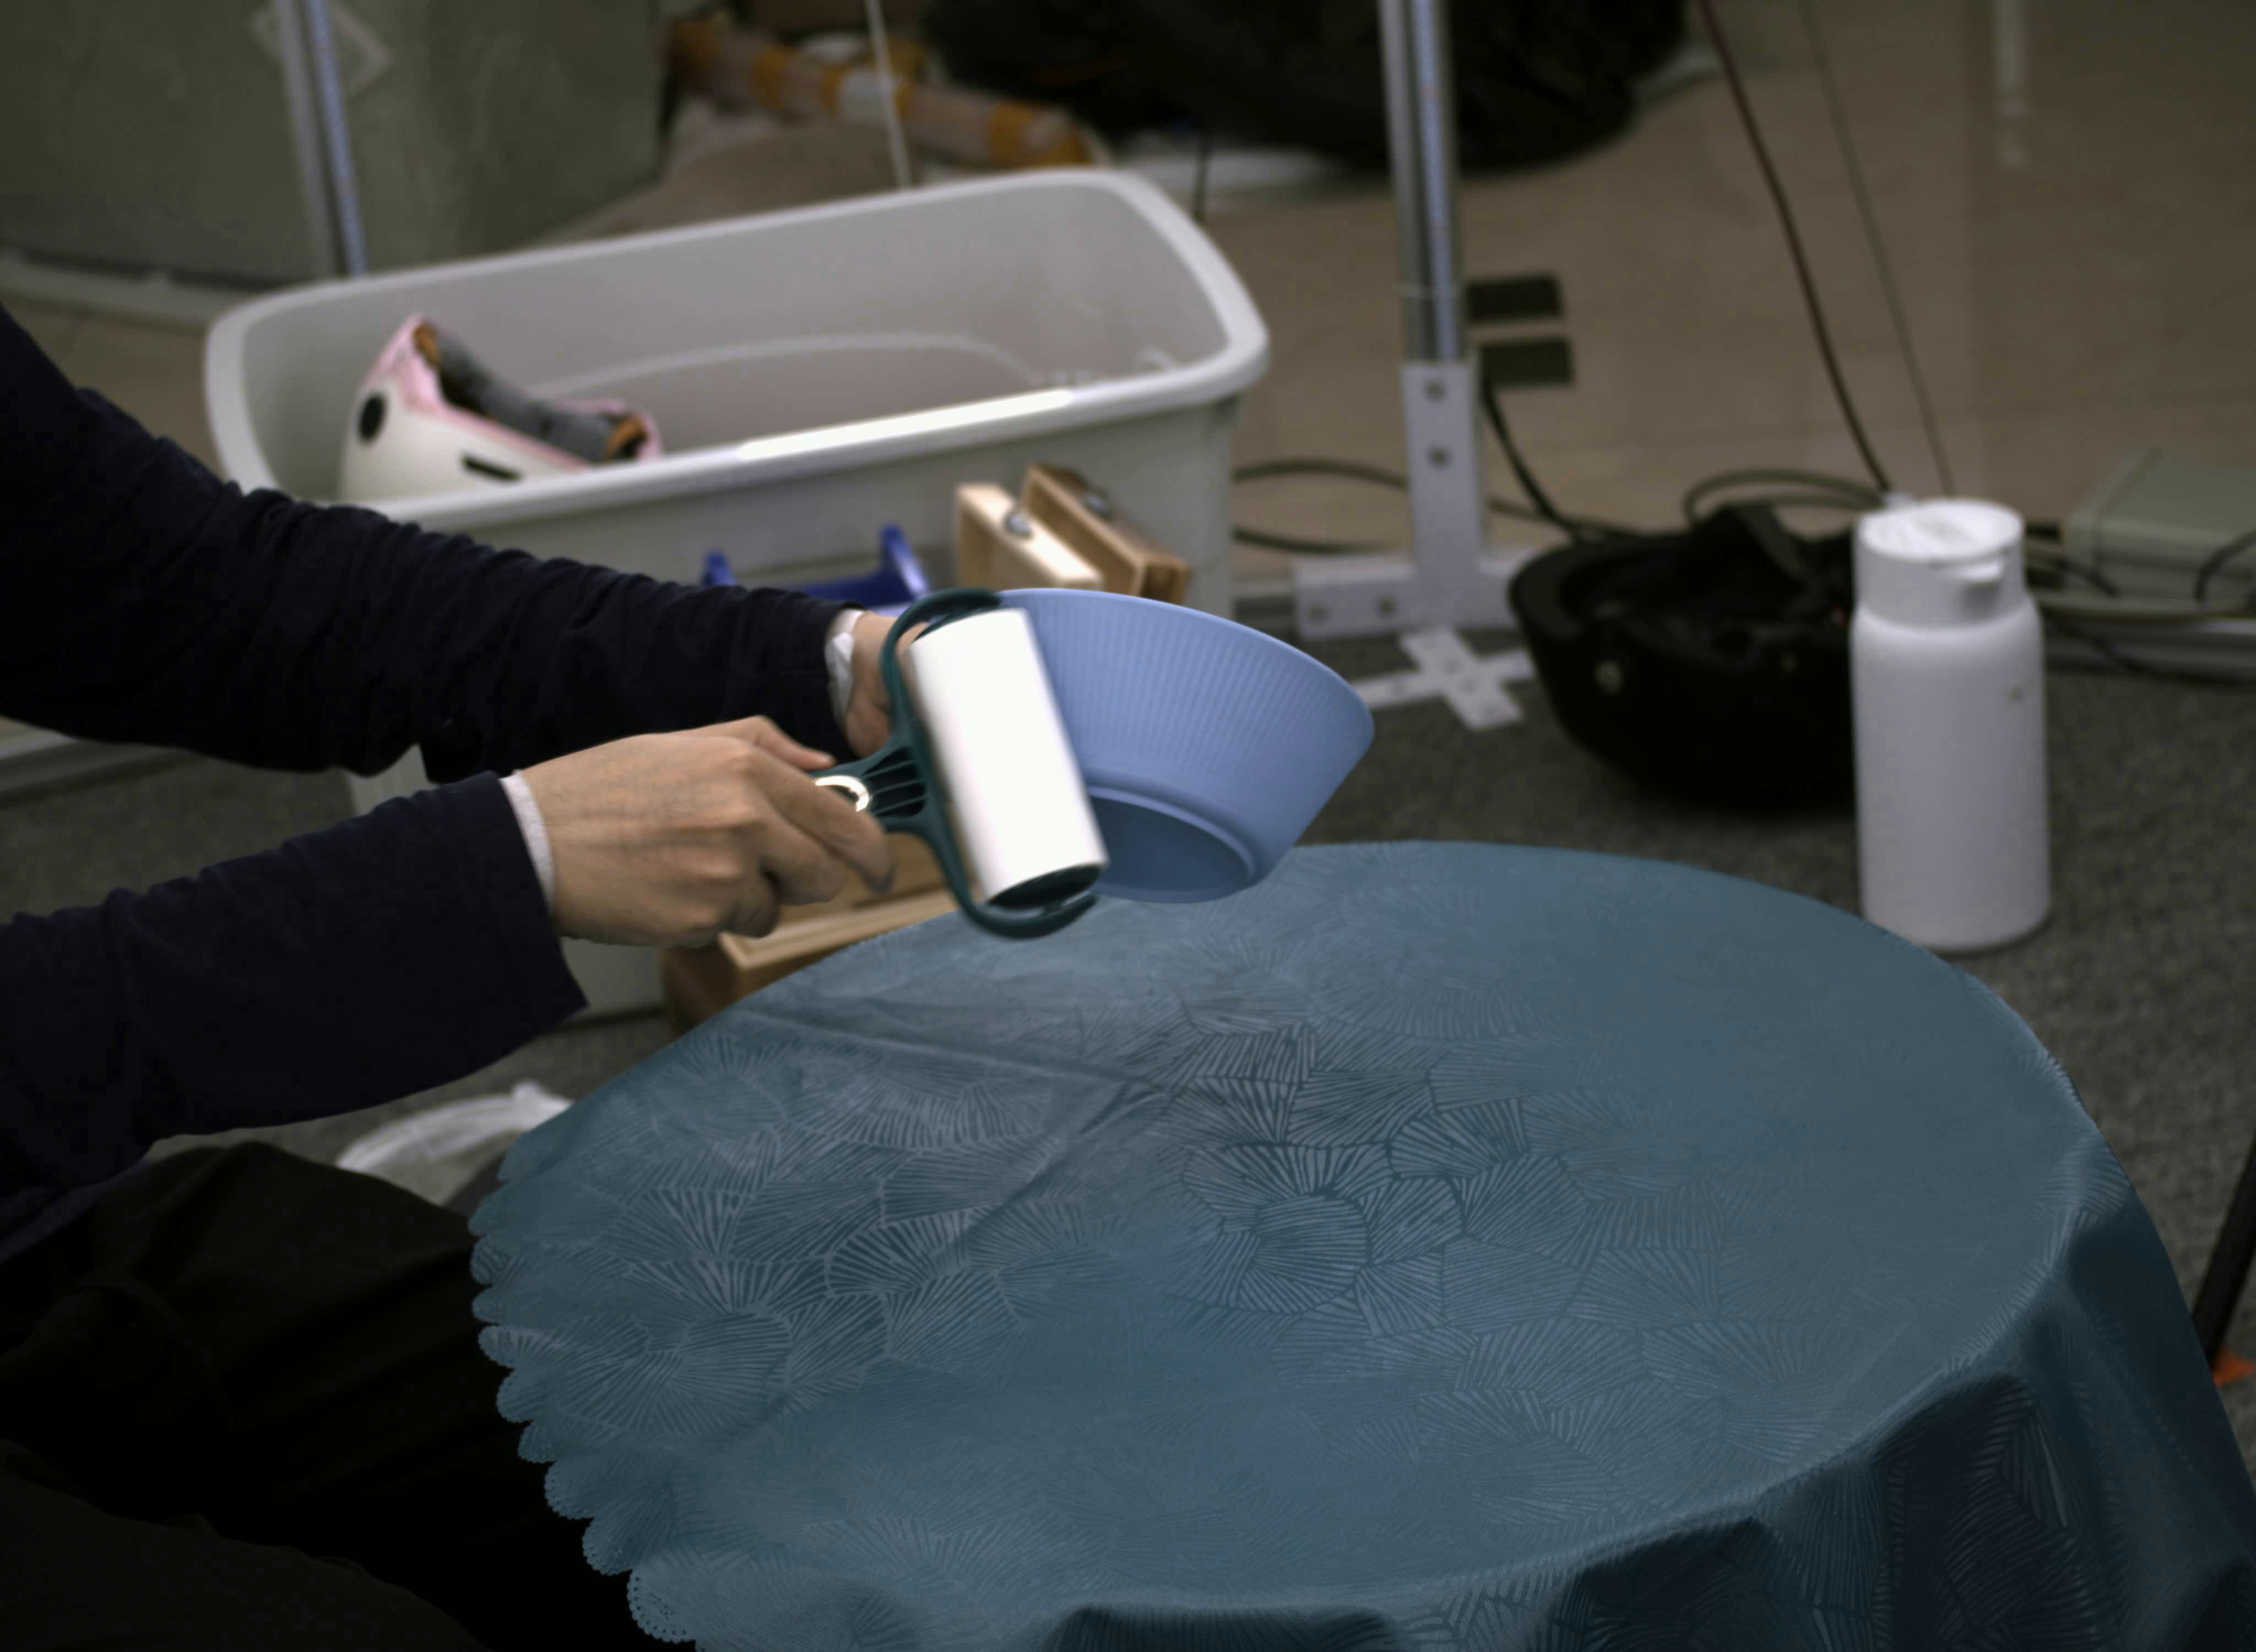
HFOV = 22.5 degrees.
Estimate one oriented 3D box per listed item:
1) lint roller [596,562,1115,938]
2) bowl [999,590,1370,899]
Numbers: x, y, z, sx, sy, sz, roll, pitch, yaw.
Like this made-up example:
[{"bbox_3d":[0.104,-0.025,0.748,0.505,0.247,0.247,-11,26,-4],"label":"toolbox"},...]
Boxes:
[{"bbox_3d":[-0.104,-0.008,2.044,0.179,0.134,0.048,-16,-8,-14],"label":"lint roller"},{"bbox_3d":[0.000,-0.024,2.144,0.175,0.178,0.069,4,68,21],"label":"bowl"}]
